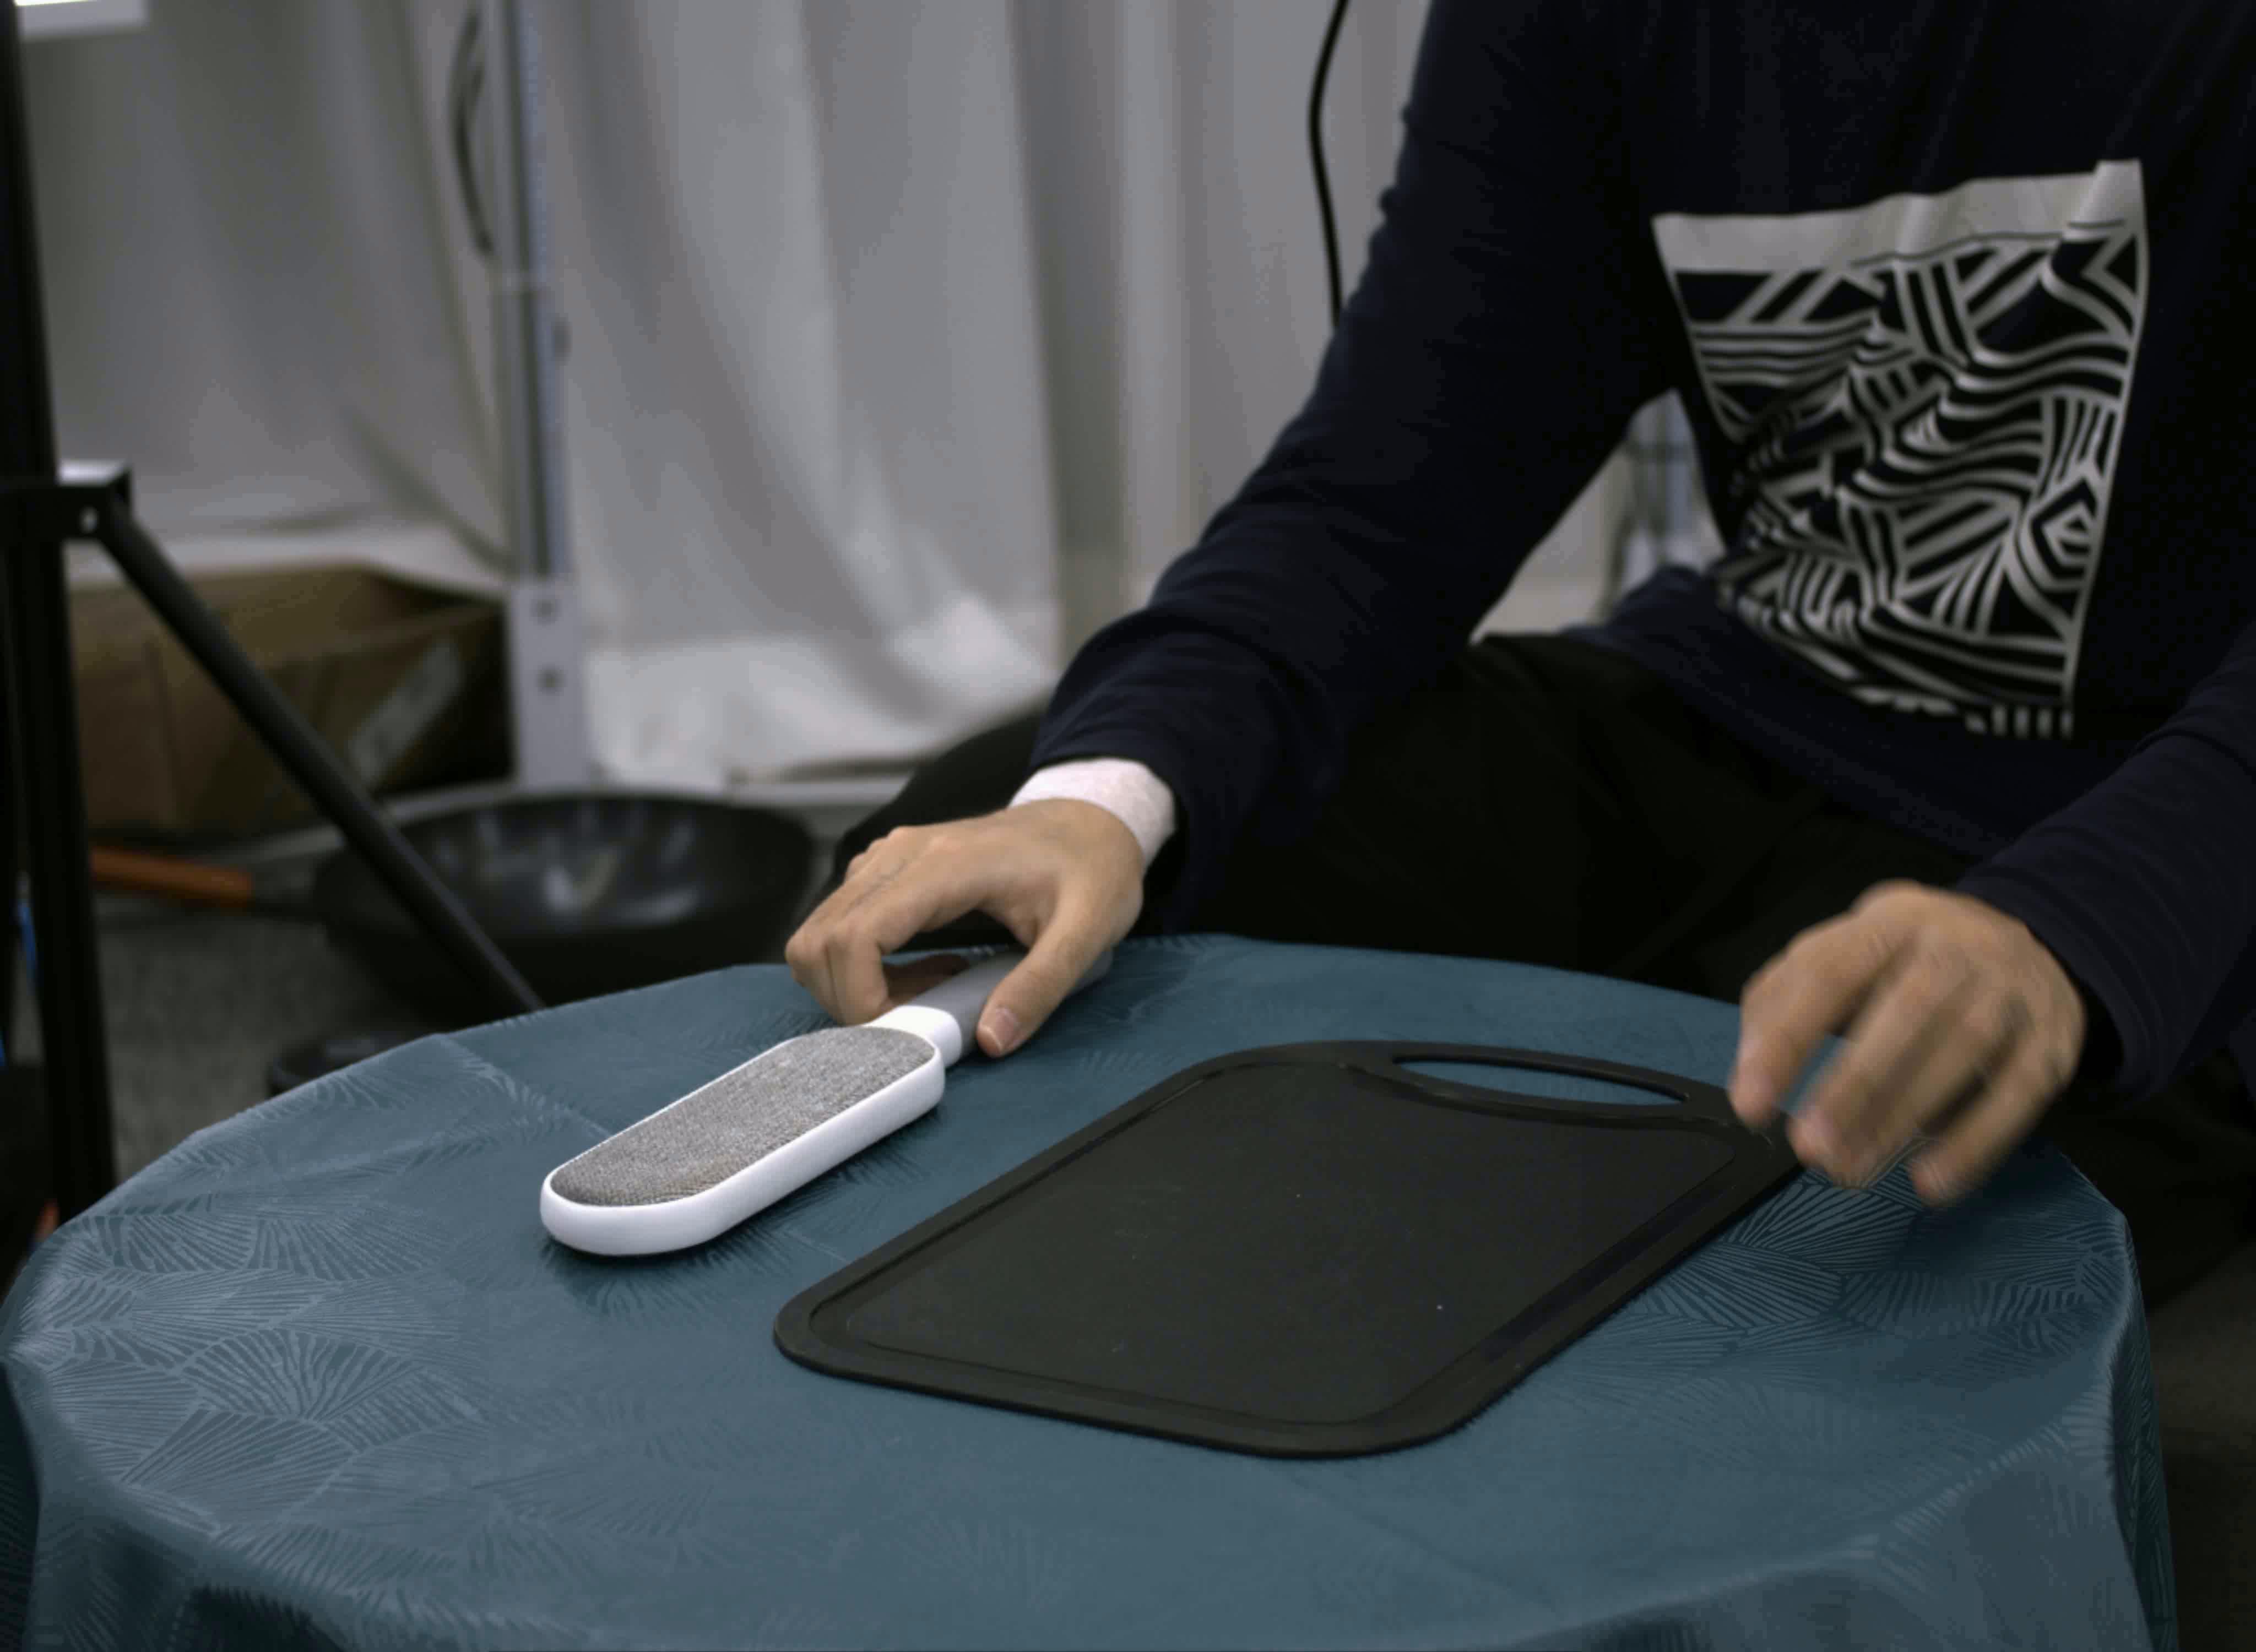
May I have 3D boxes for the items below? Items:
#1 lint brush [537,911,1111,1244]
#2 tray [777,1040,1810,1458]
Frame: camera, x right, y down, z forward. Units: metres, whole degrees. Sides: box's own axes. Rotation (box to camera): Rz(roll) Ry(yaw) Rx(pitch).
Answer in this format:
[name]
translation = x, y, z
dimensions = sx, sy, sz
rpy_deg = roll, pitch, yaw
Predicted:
[lint brush]
translation = -0.083, 0.074, 1.645
dimensions = 0.061, 0.021, 0.303
rpy_deg = 0, 15, 29
[tray]
translation = 0.057, 0.112, 1.528
dimensions = 0.215, 0.010, 0.319
rpy_deg = 8, 18, 31
